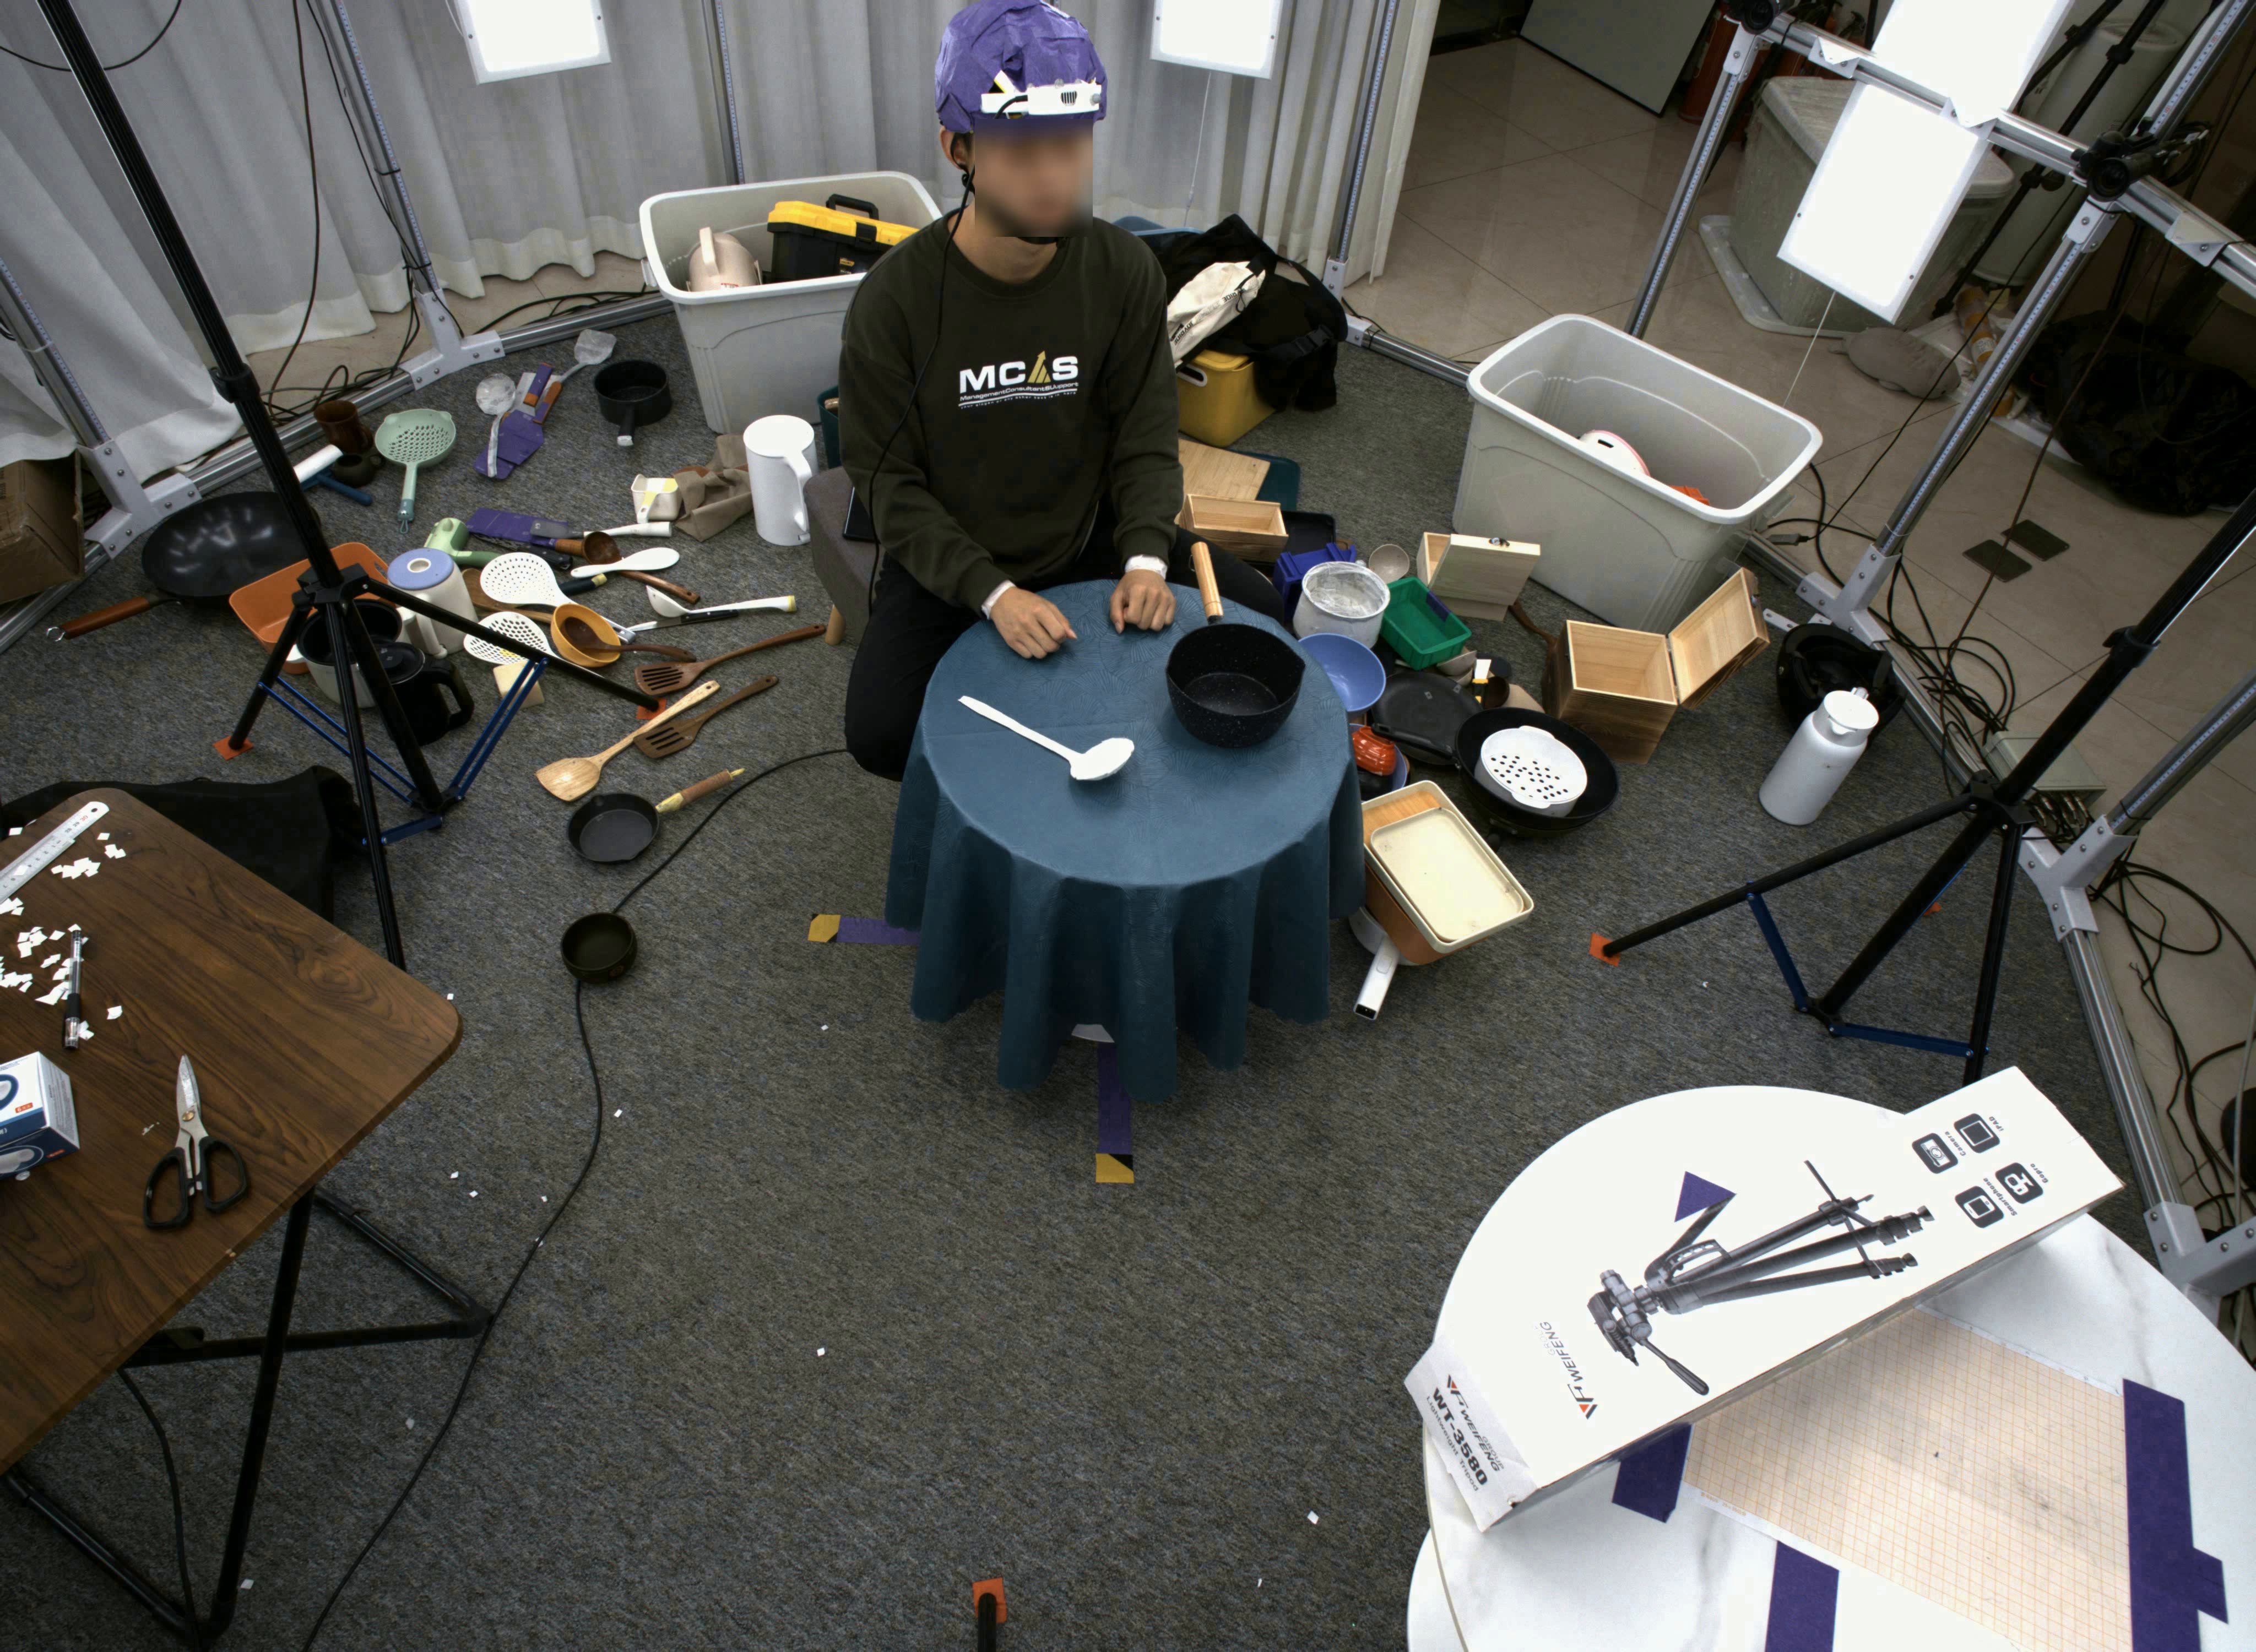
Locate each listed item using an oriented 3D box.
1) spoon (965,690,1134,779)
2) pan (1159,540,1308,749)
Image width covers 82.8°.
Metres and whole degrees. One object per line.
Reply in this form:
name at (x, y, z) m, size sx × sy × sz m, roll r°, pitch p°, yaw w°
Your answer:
spoon at (-0.112, -0.141, 1.745) m, size 0.280 × 0.058 × 0.102 m, roll 31°, pitch 50°, yaw 22°
pan at (0.130, -0.259, 1.832) m, size 0.207 × 0.105 × 0.351 m, roll -7°, pitch 51°, yaw -8°
